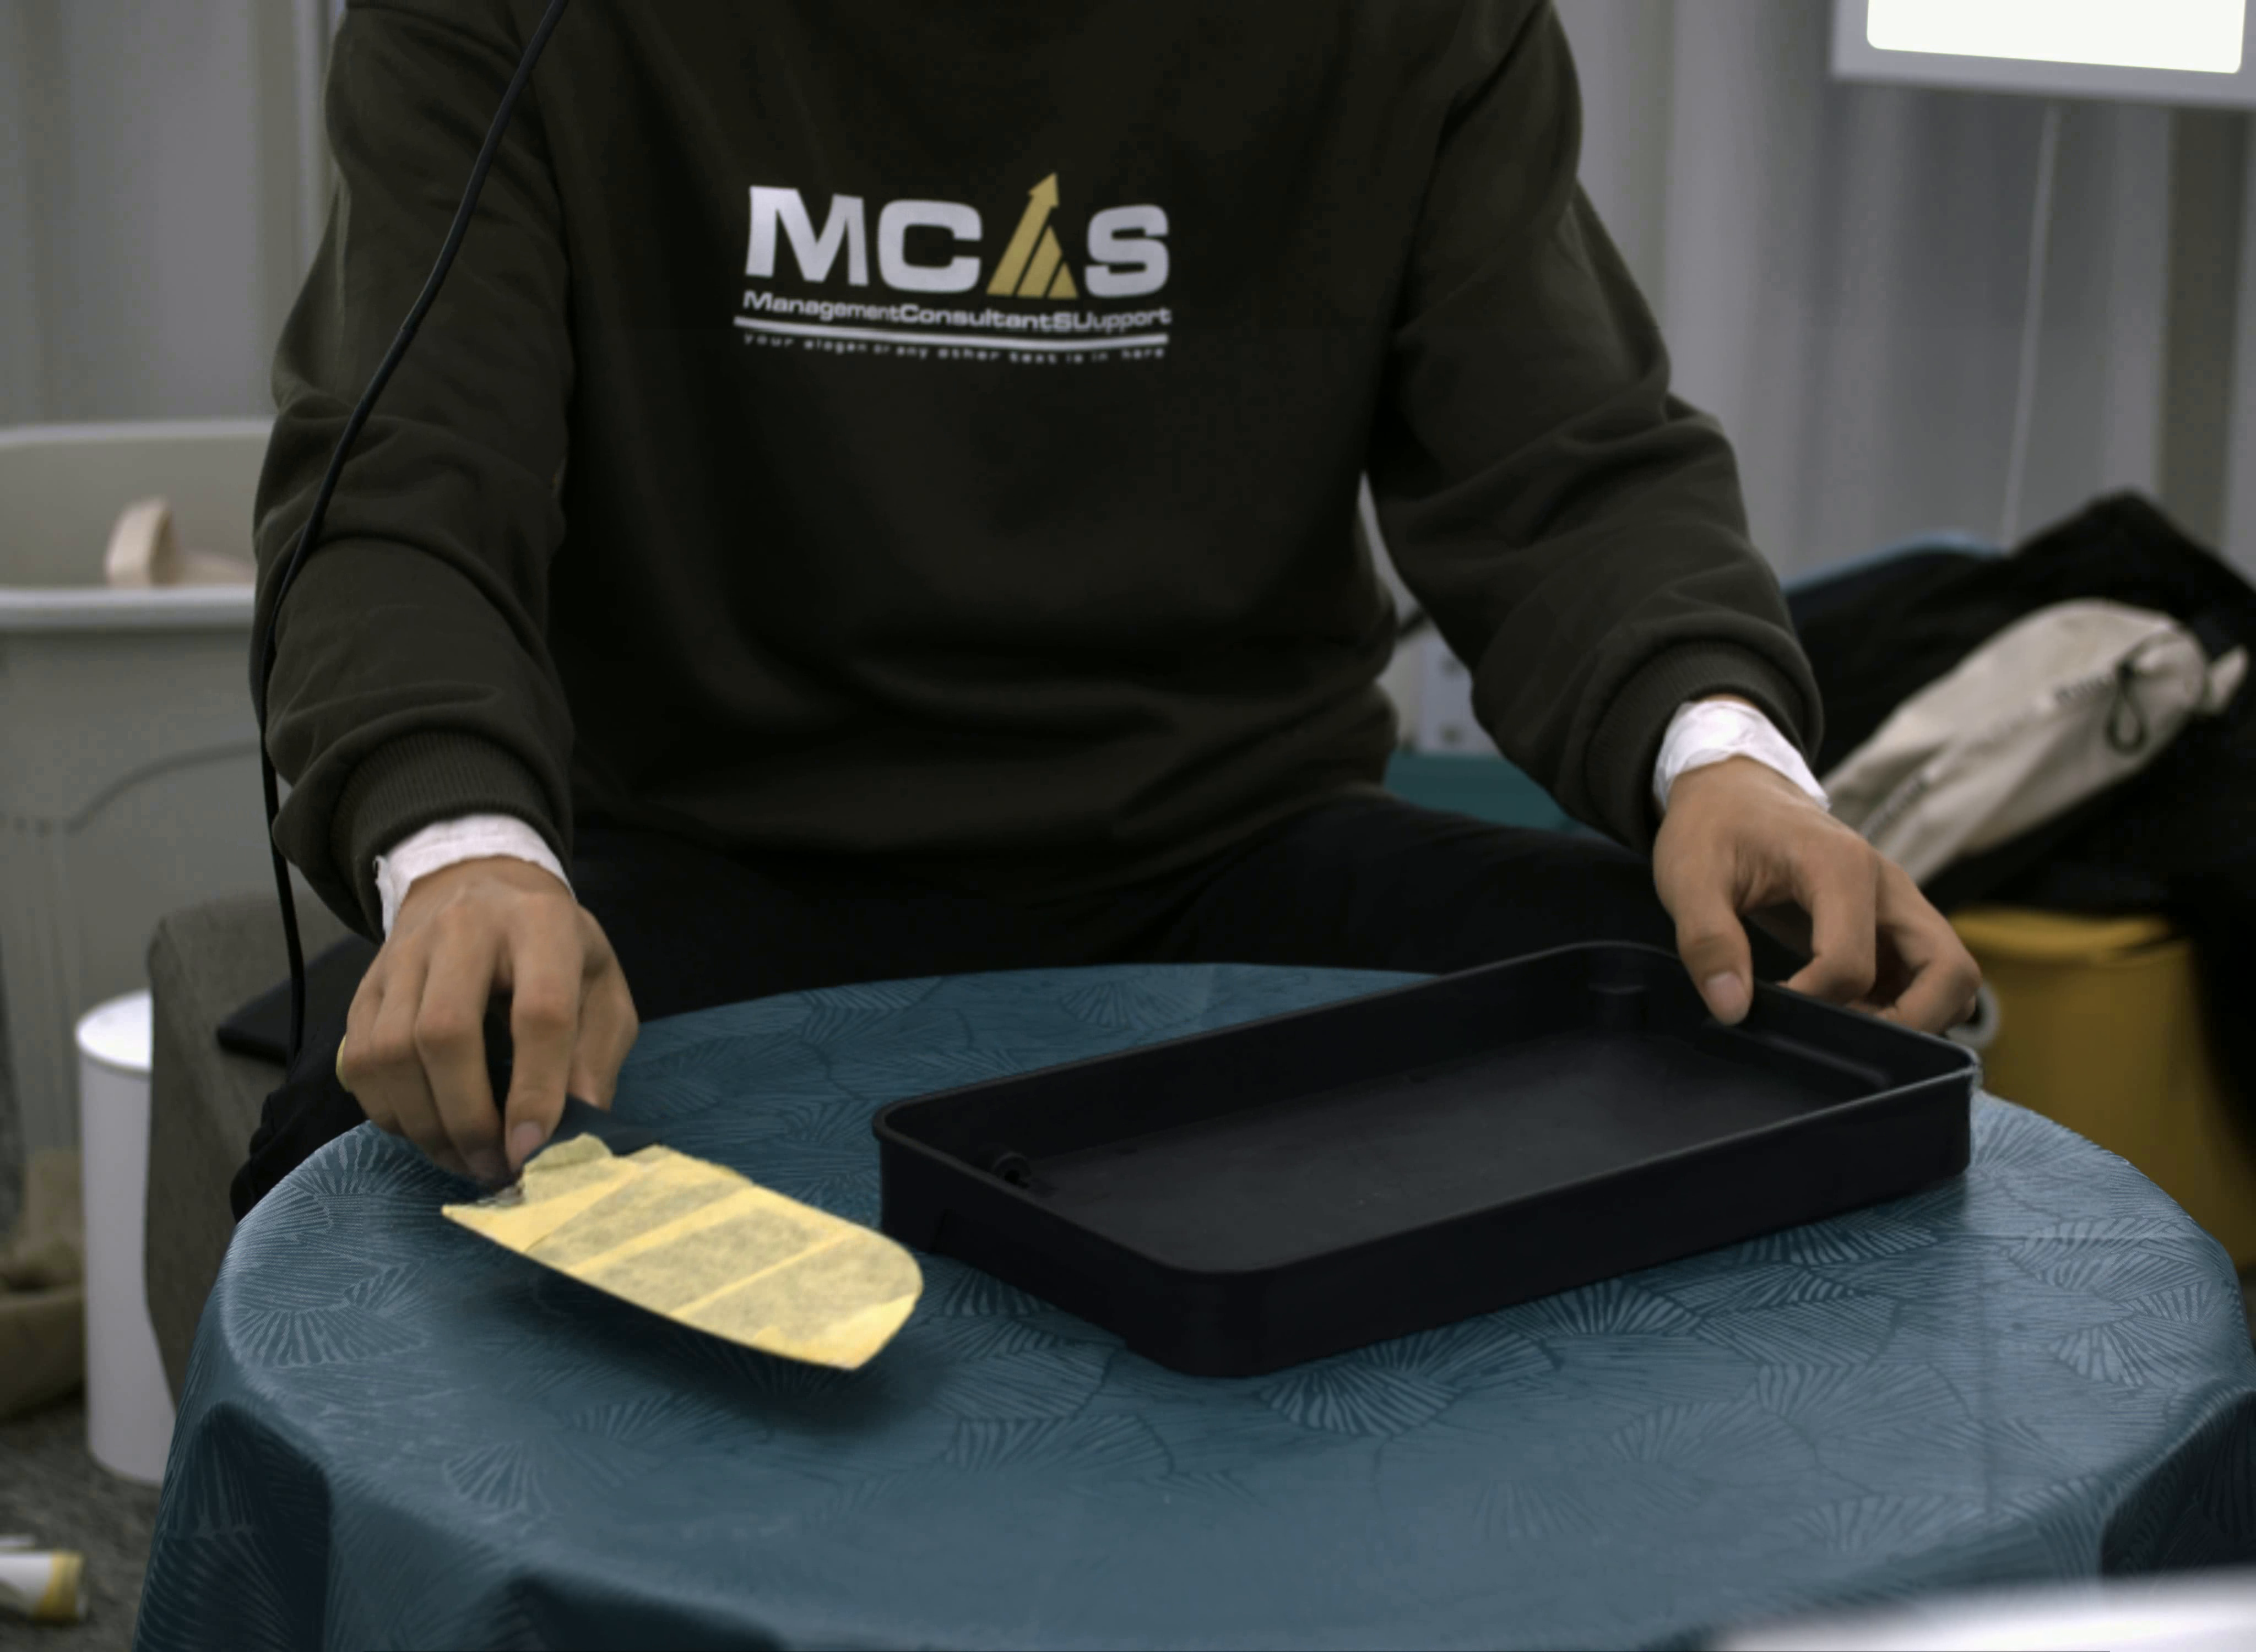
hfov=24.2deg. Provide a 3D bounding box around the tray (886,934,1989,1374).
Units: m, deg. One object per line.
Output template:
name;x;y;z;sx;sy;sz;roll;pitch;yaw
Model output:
tray;0.098;0.095;1.619;0.319;0.037;0.182;-13;19;-37

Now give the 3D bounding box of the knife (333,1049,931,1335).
knife;-0.156;0.107;1.534;0.081;0.027;0.285;-18;23;-37
